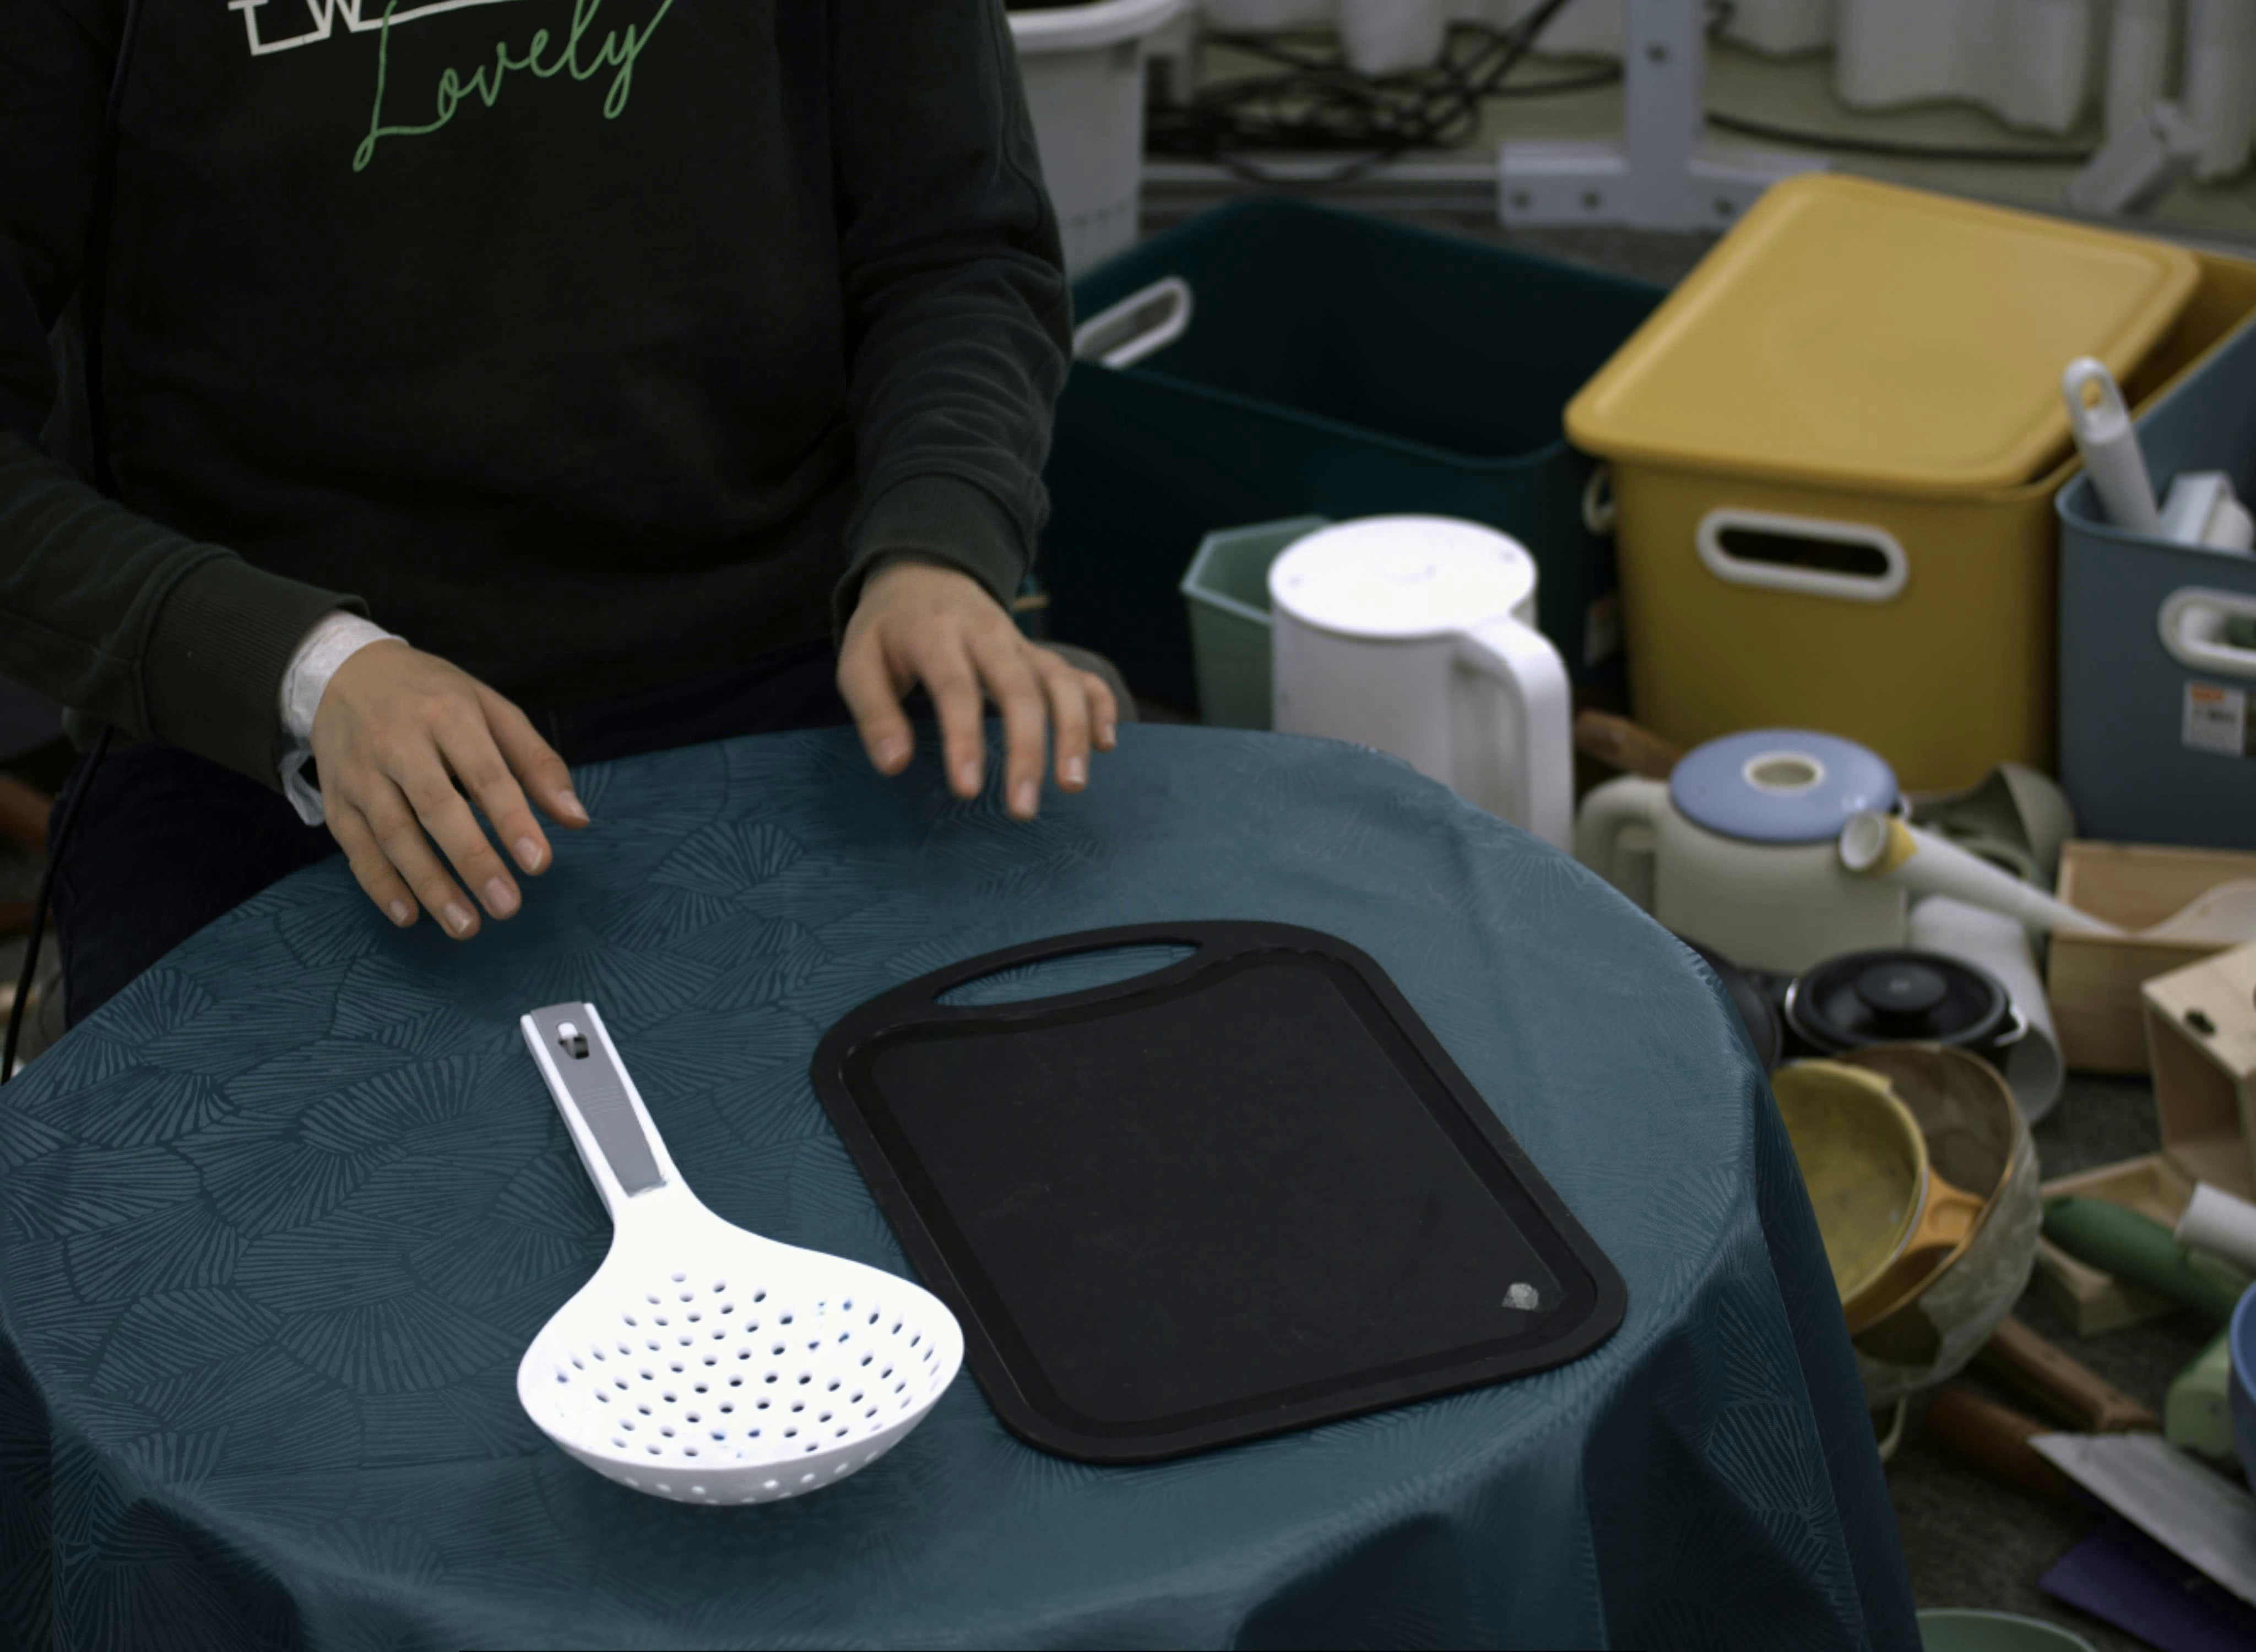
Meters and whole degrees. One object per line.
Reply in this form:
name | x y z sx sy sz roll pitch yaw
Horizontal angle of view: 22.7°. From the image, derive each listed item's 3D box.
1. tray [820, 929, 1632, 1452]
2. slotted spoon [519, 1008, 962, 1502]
tray | 0.023 0.112 1.871 0.211 0.009 0.328 -10 28 -15
slotted spoon | -0.149 0.131 1.808 0.136 0.045 0.353 -8 27 -15
